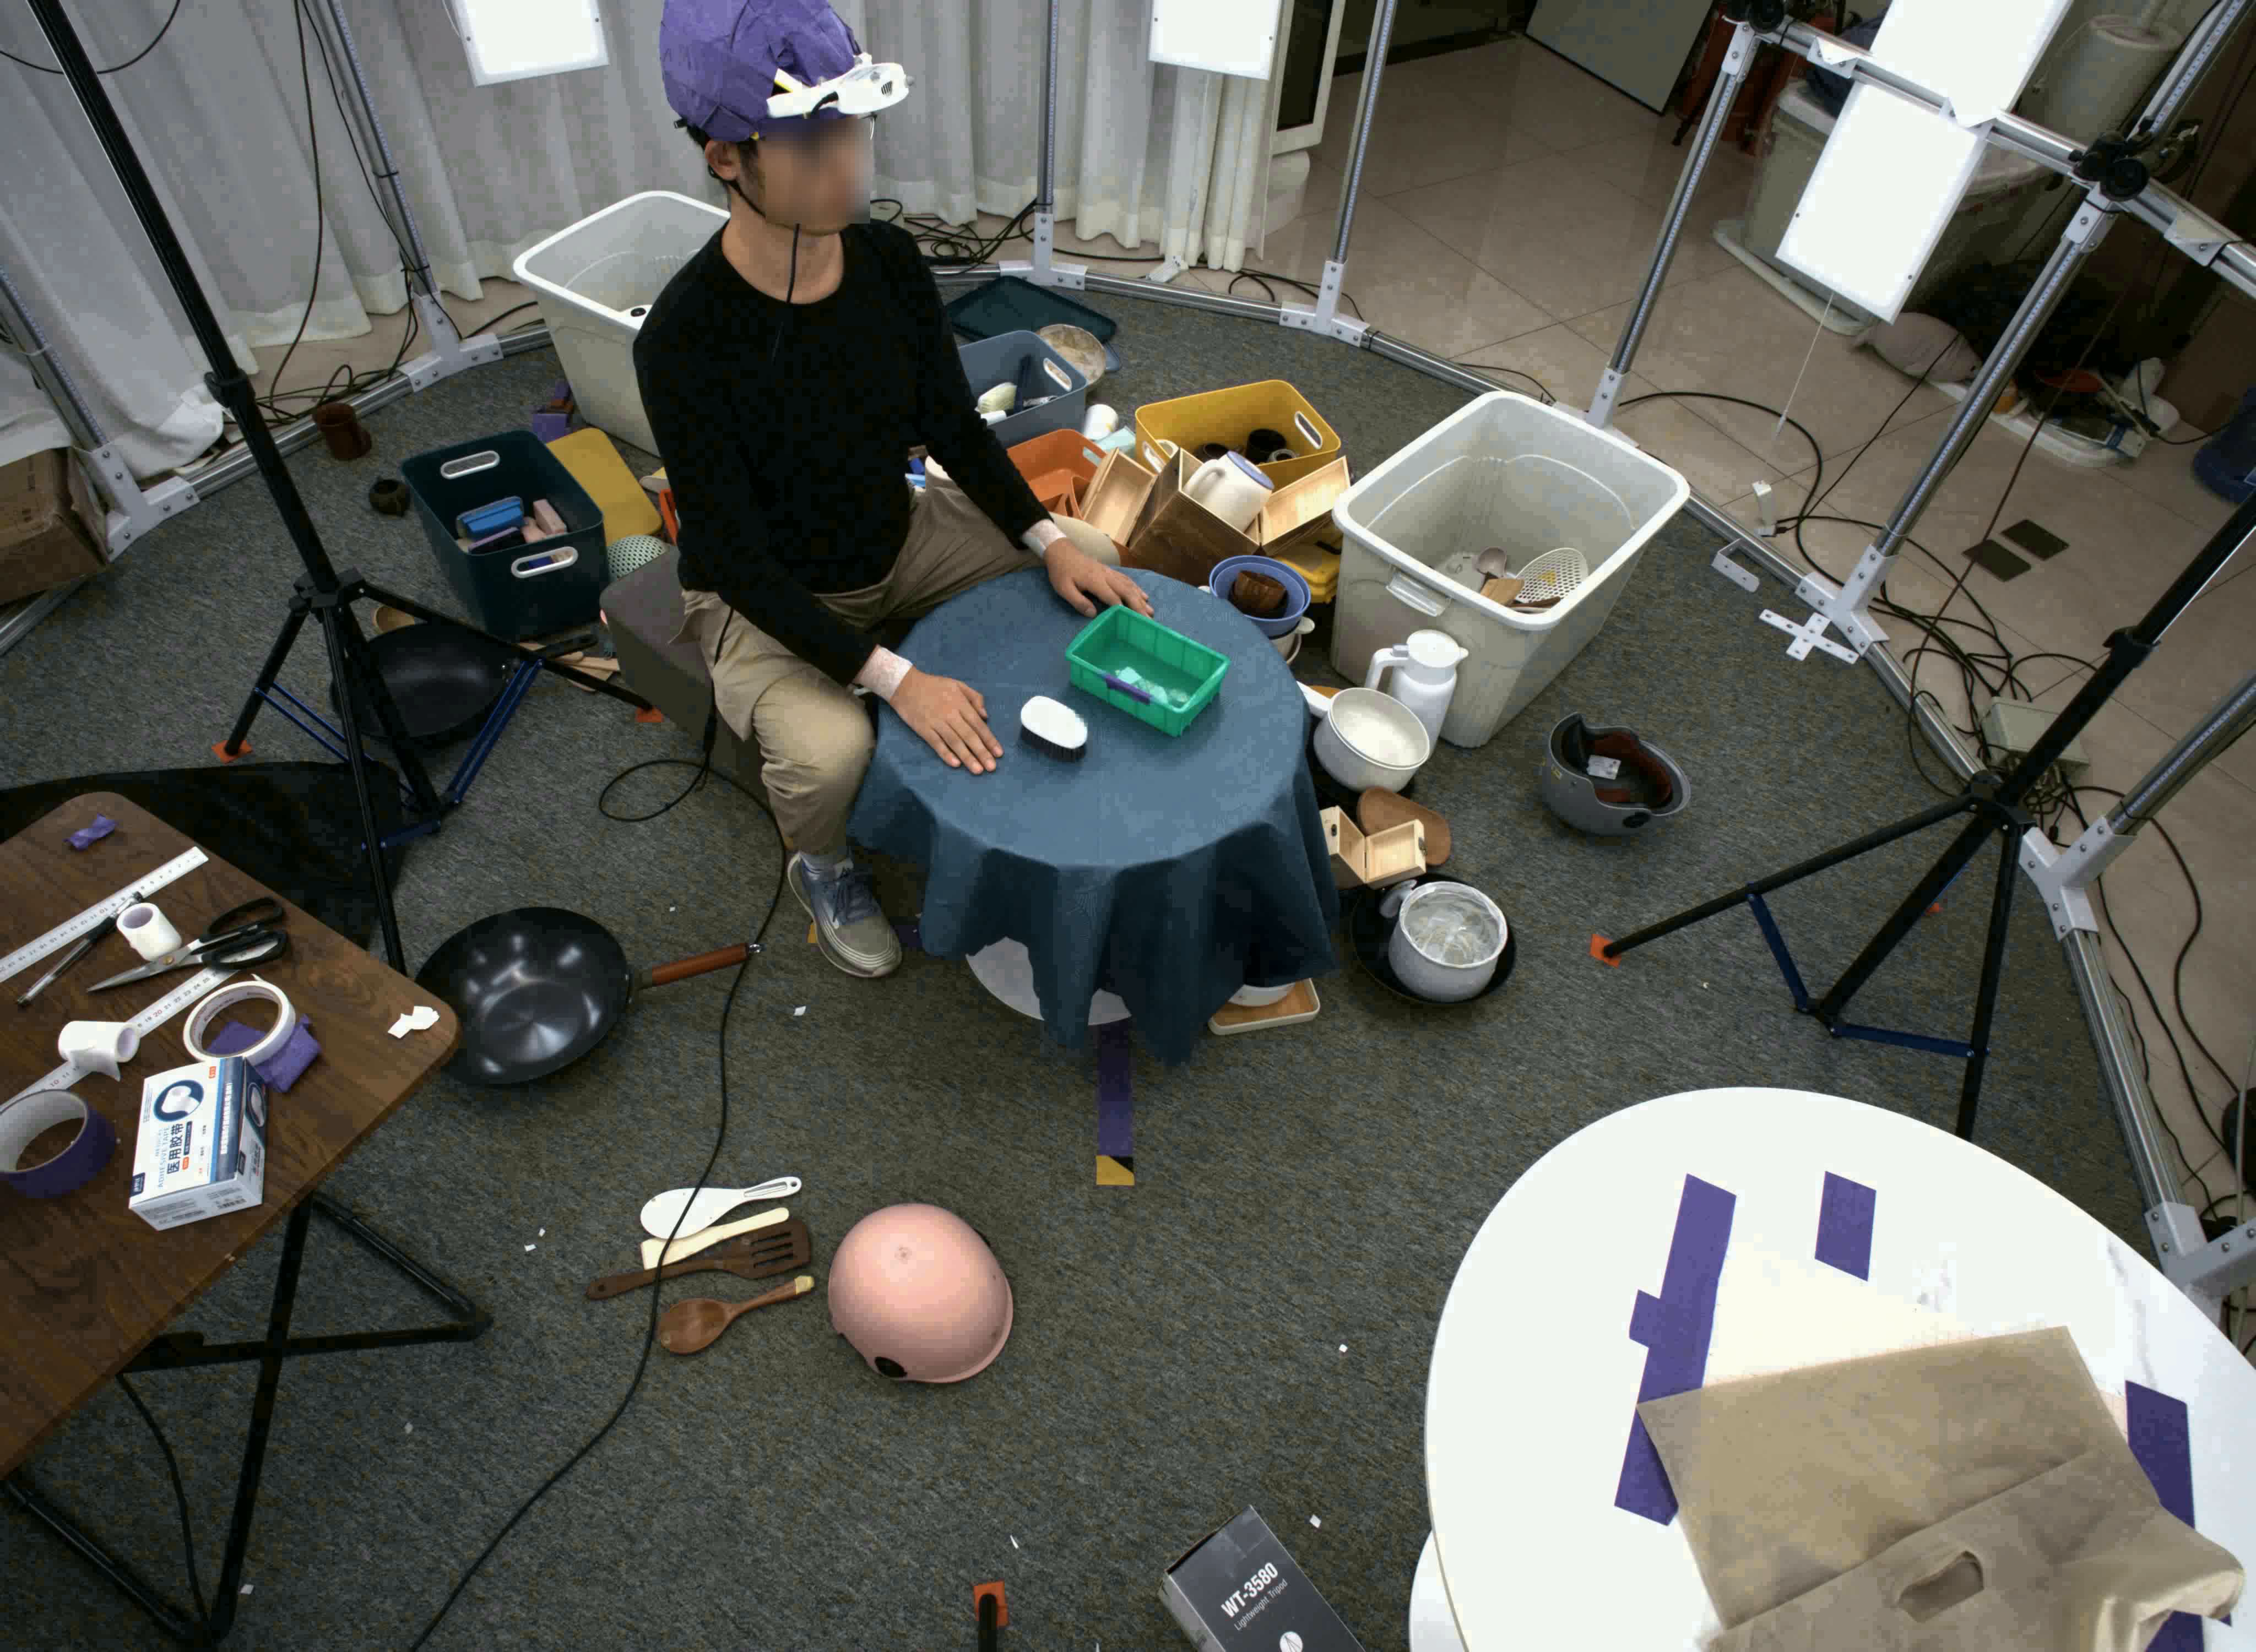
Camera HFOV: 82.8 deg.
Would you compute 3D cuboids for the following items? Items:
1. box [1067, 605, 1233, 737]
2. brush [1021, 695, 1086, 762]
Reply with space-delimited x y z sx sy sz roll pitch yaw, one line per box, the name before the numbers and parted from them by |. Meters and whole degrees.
box | 0.030 -0.218 1.821 0.212 0.064 0.140 28 55 18
brush | -0.101 -0.139 1.736 0.100 0.071 0.051 30 54 20
